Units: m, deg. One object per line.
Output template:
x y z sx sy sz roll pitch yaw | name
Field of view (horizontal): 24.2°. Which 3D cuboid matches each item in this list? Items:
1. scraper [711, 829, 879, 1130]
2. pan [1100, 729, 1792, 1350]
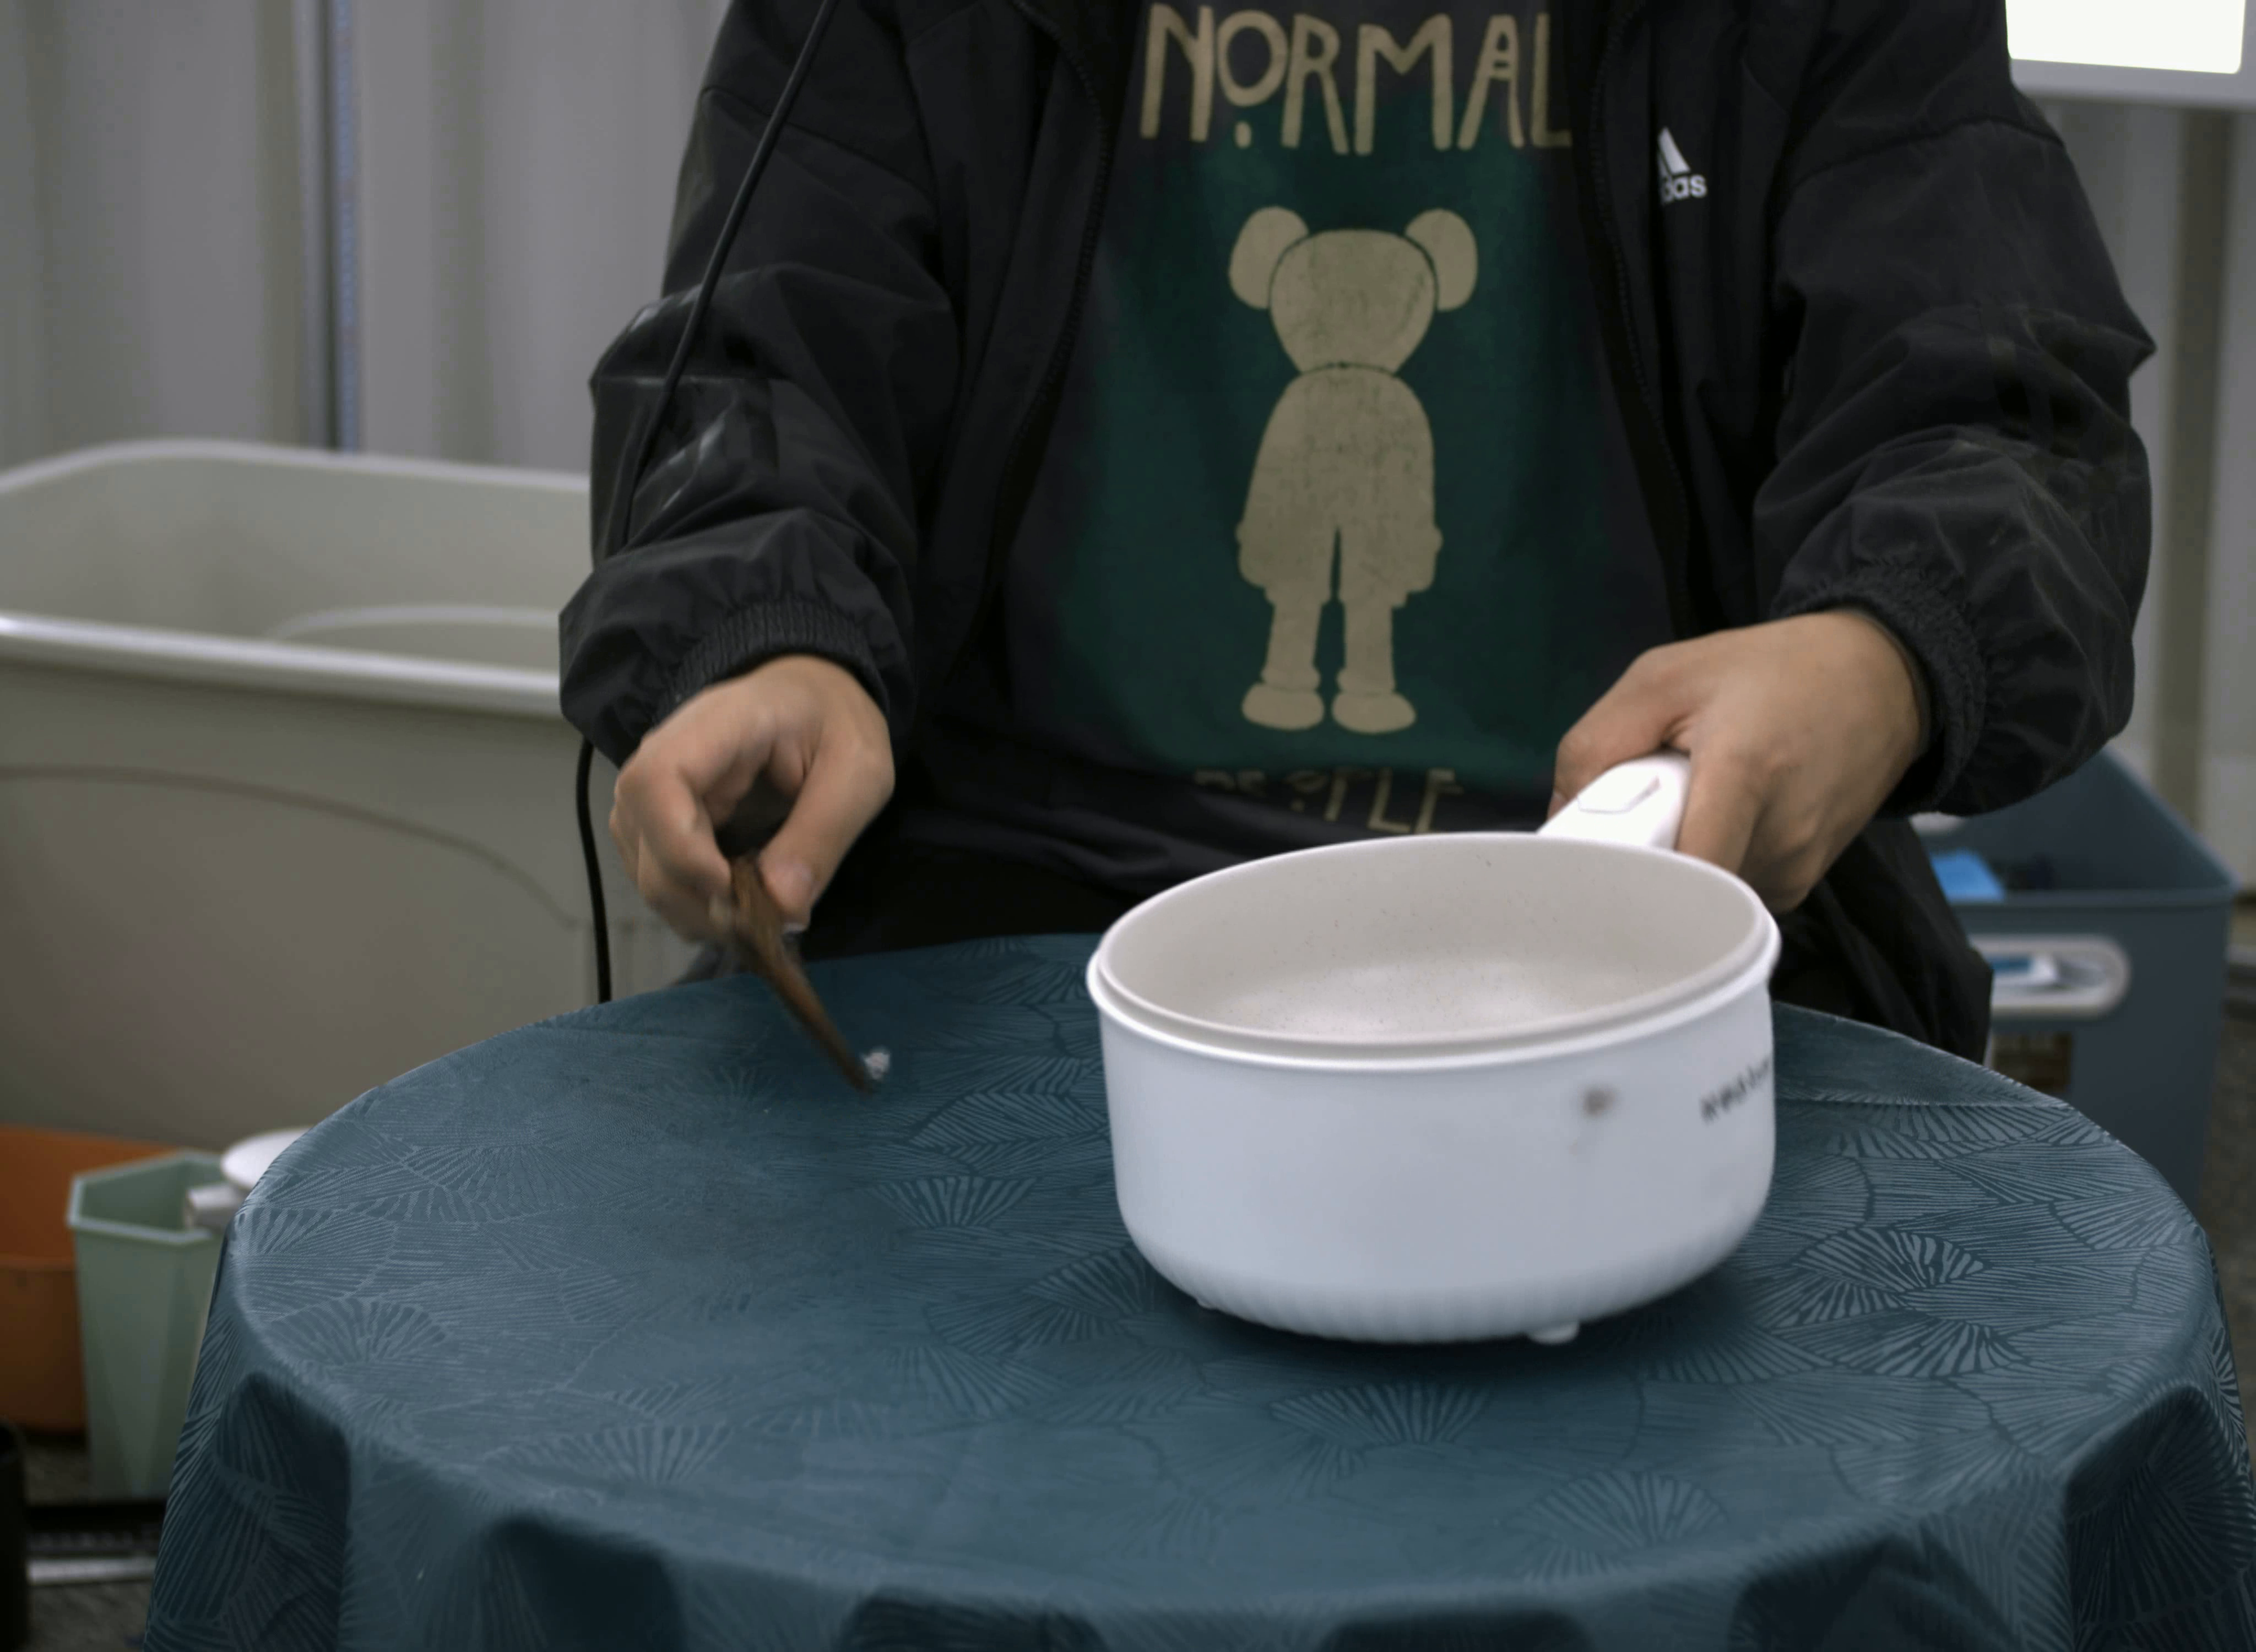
-0.112 0.038 1.637 0.011 0.076 0.209 -35 18 1 | scraper
0.126 0.060 1.603 0.199 0.103 0.355 4 17 25 | pan
